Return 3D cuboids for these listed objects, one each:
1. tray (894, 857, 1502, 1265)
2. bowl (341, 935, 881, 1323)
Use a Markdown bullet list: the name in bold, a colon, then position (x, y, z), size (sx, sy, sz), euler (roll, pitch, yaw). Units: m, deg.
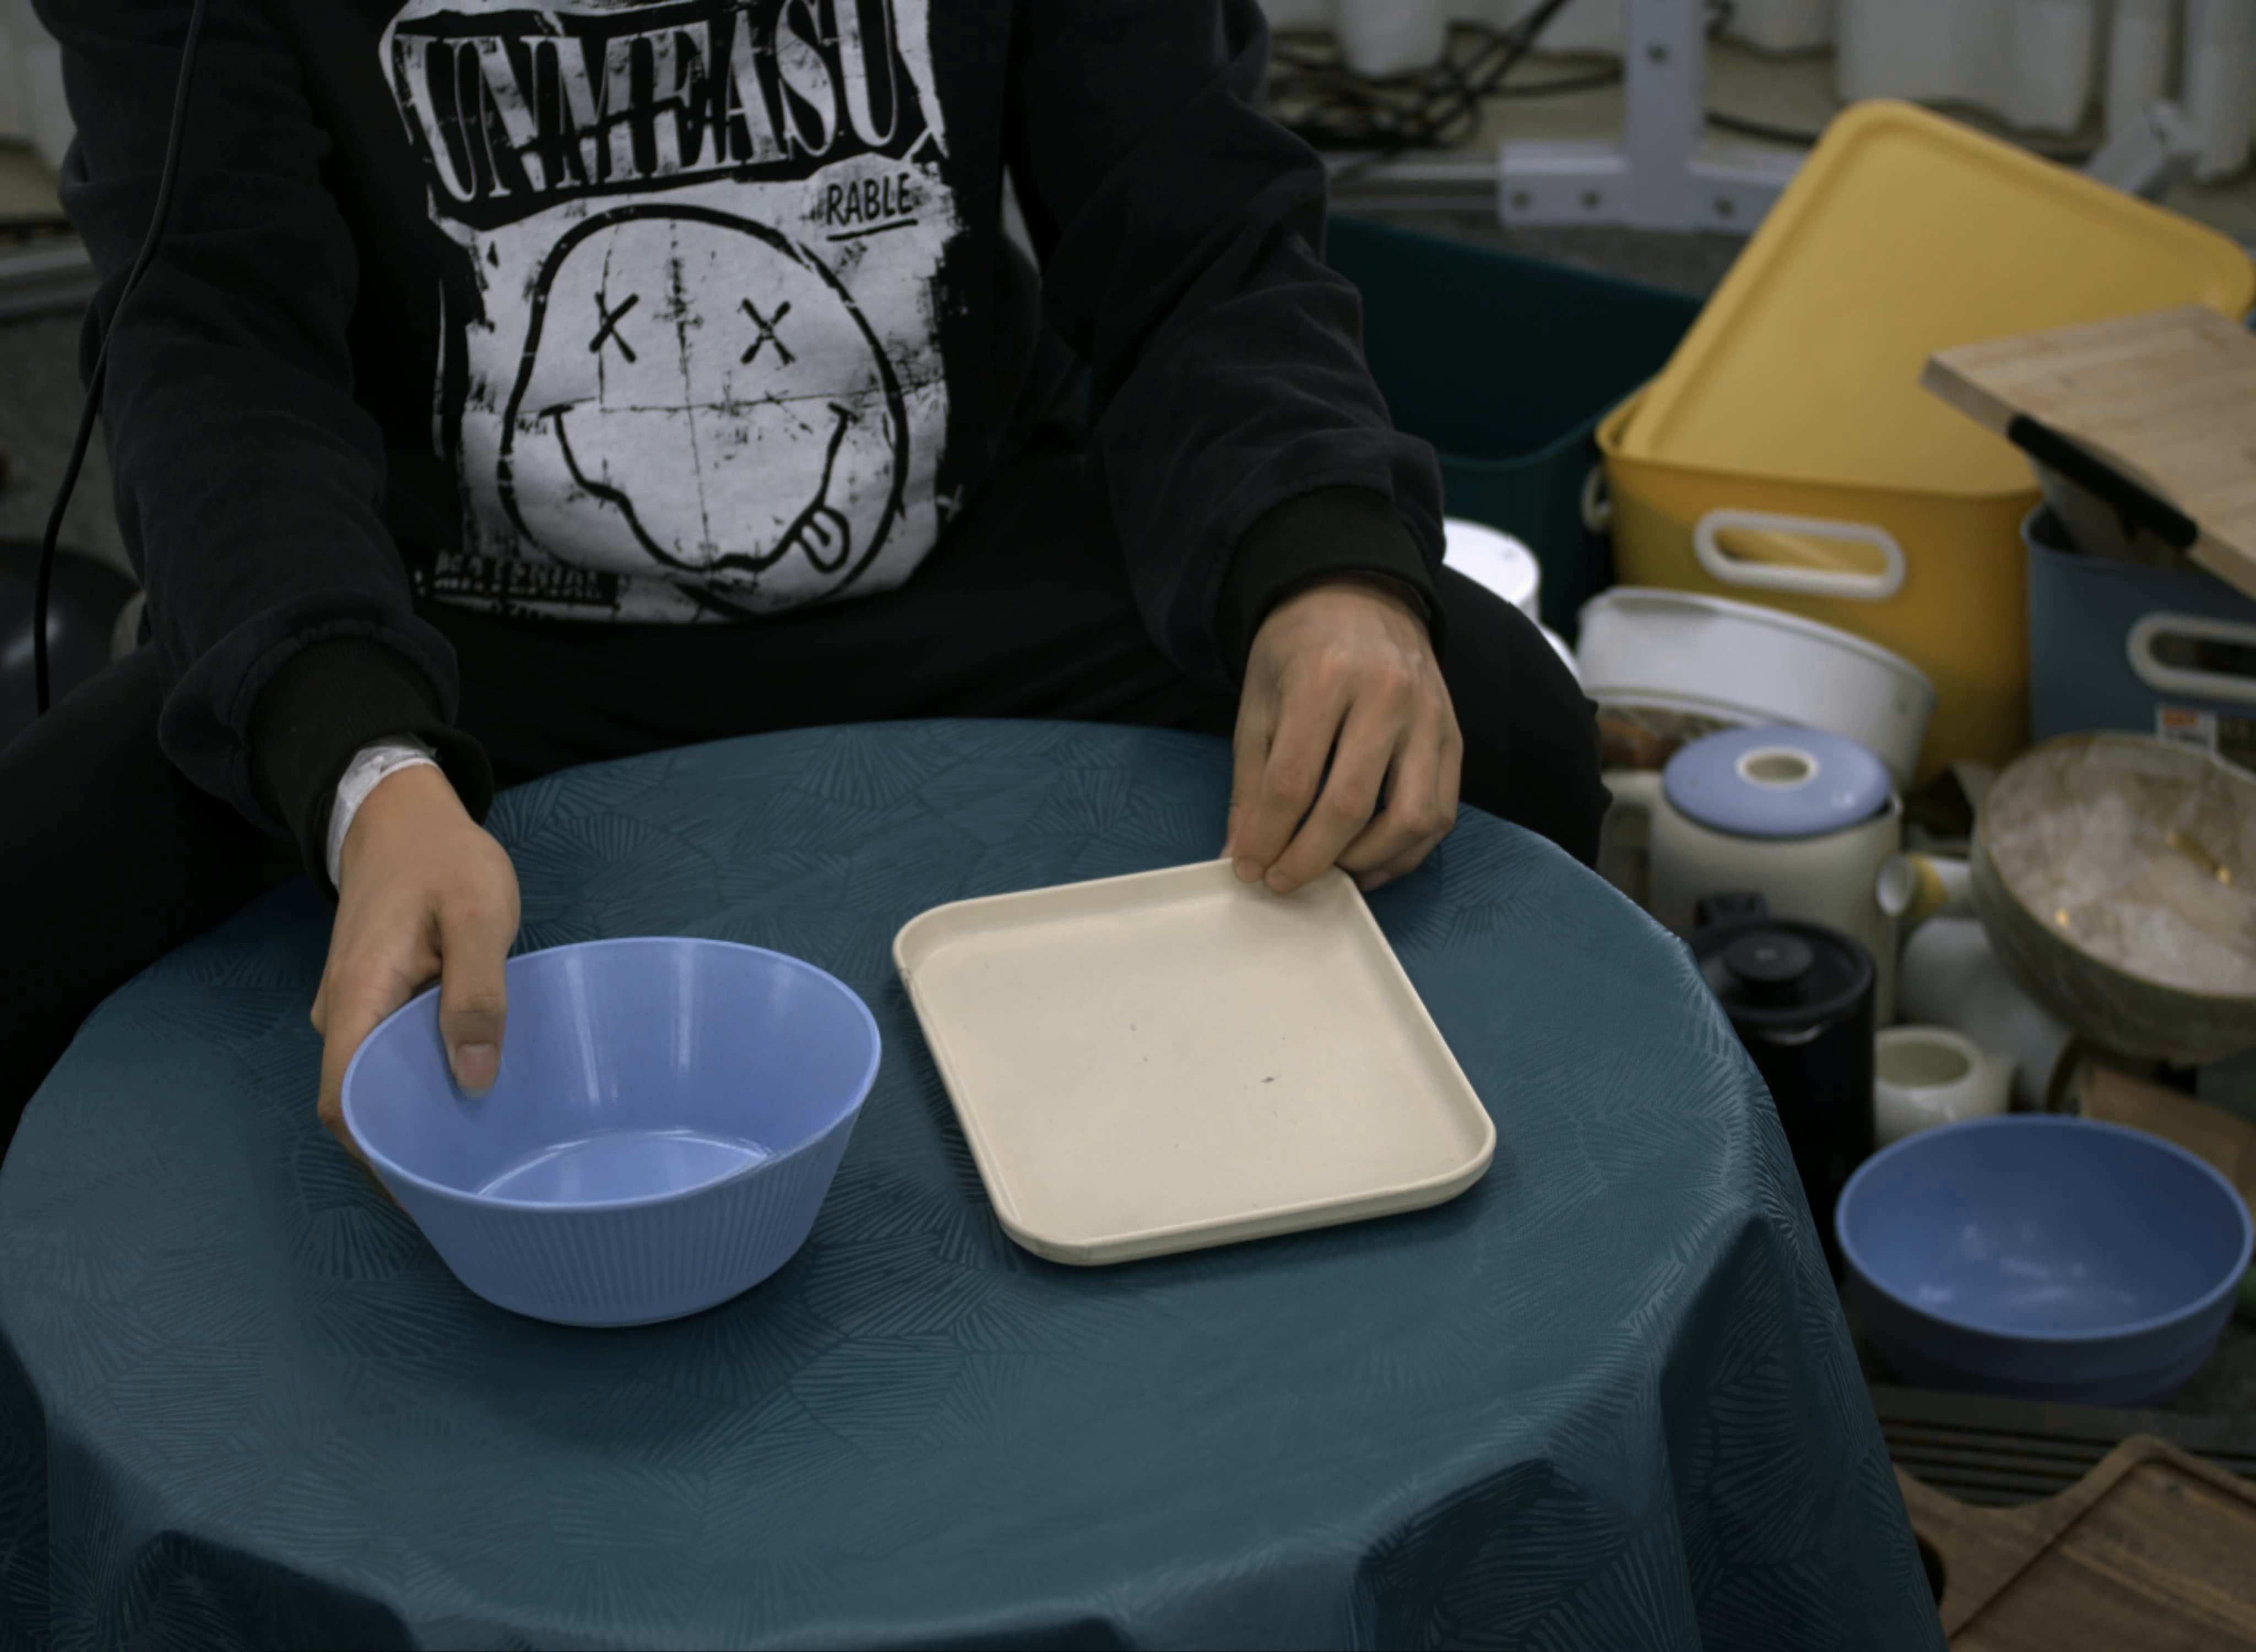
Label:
- **tray**: position (0.021, 0.079, 1.922), size (0.171, 0.017, 0.242), euler (-8, 28, -11)
- **bowl**: position (-0.166, 0.105, 1.831), size (0.175, 0.069, 0.179), euler (-2, 27, 1)
